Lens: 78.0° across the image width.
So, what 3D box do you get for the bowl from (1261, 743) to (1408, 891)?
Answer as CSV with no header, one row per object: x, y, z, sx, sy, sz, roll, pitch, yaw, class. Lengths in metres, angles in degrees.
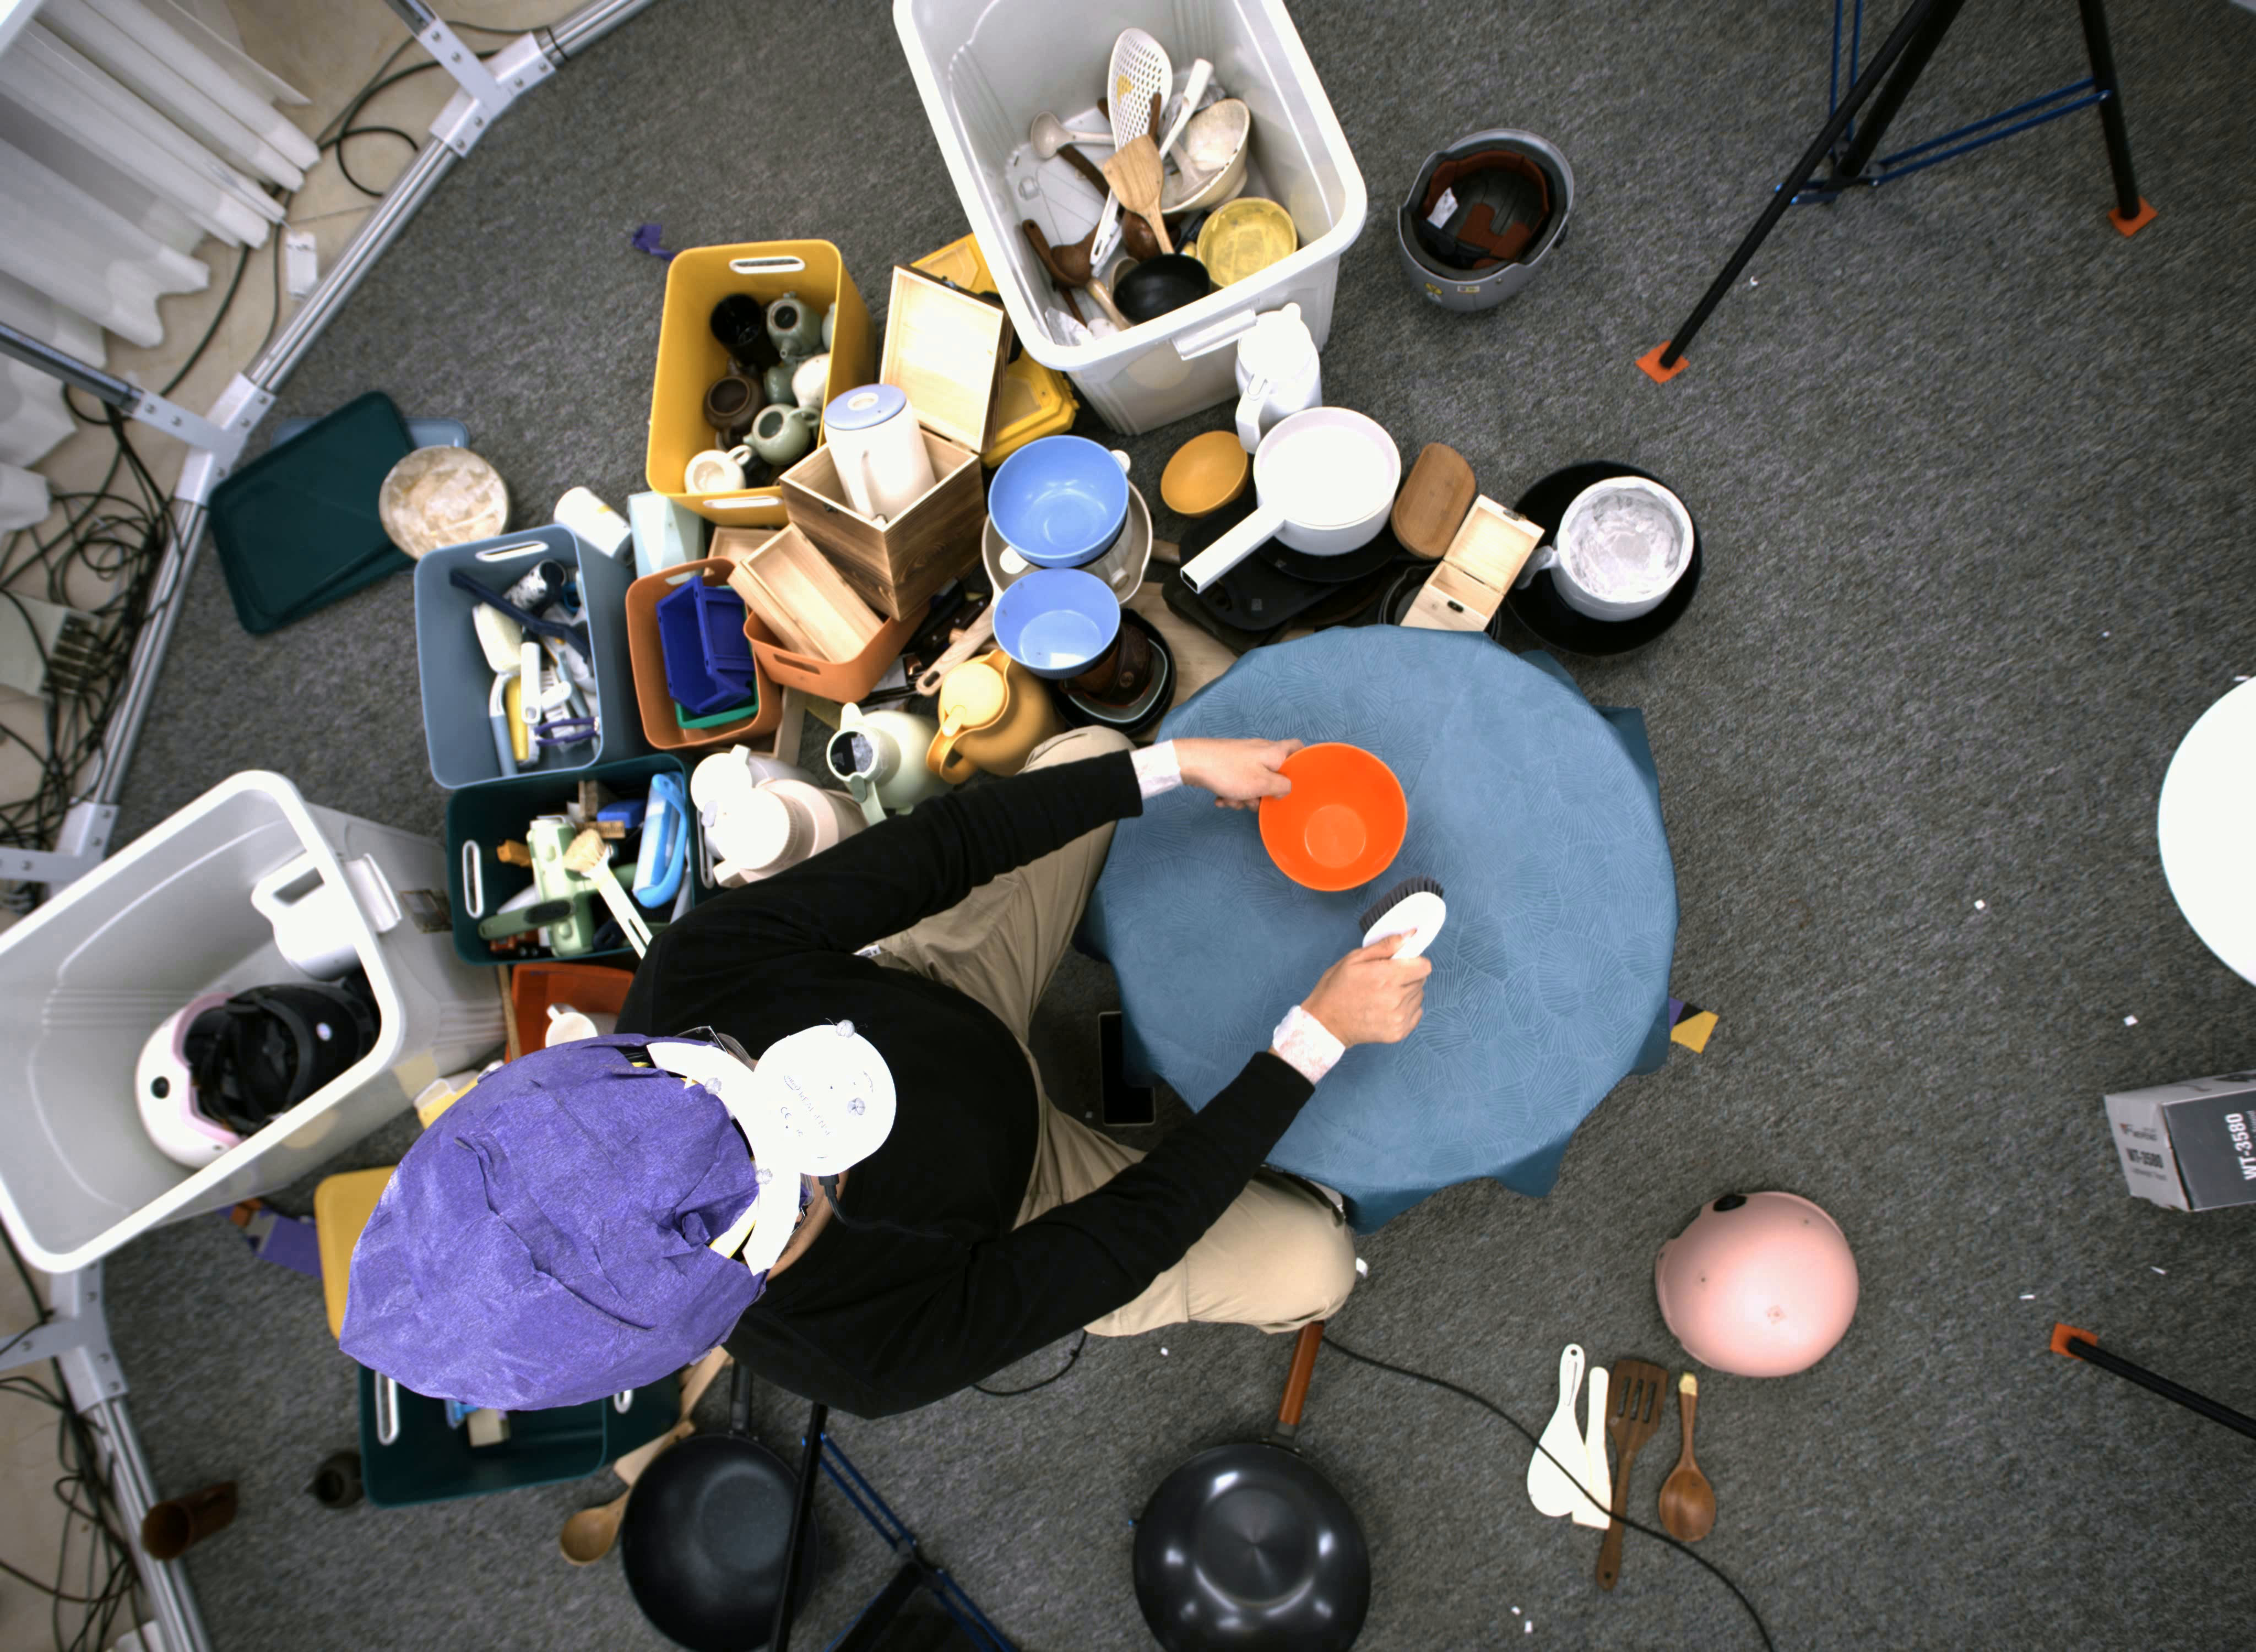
0.214,-0.006,1.425,0.148,0.104,0.147,-1,87,12,bowl

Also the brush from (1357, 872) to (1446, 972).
0.267,0.100,1.342,0.050,0.070,0.101,32,124,-21,brush
